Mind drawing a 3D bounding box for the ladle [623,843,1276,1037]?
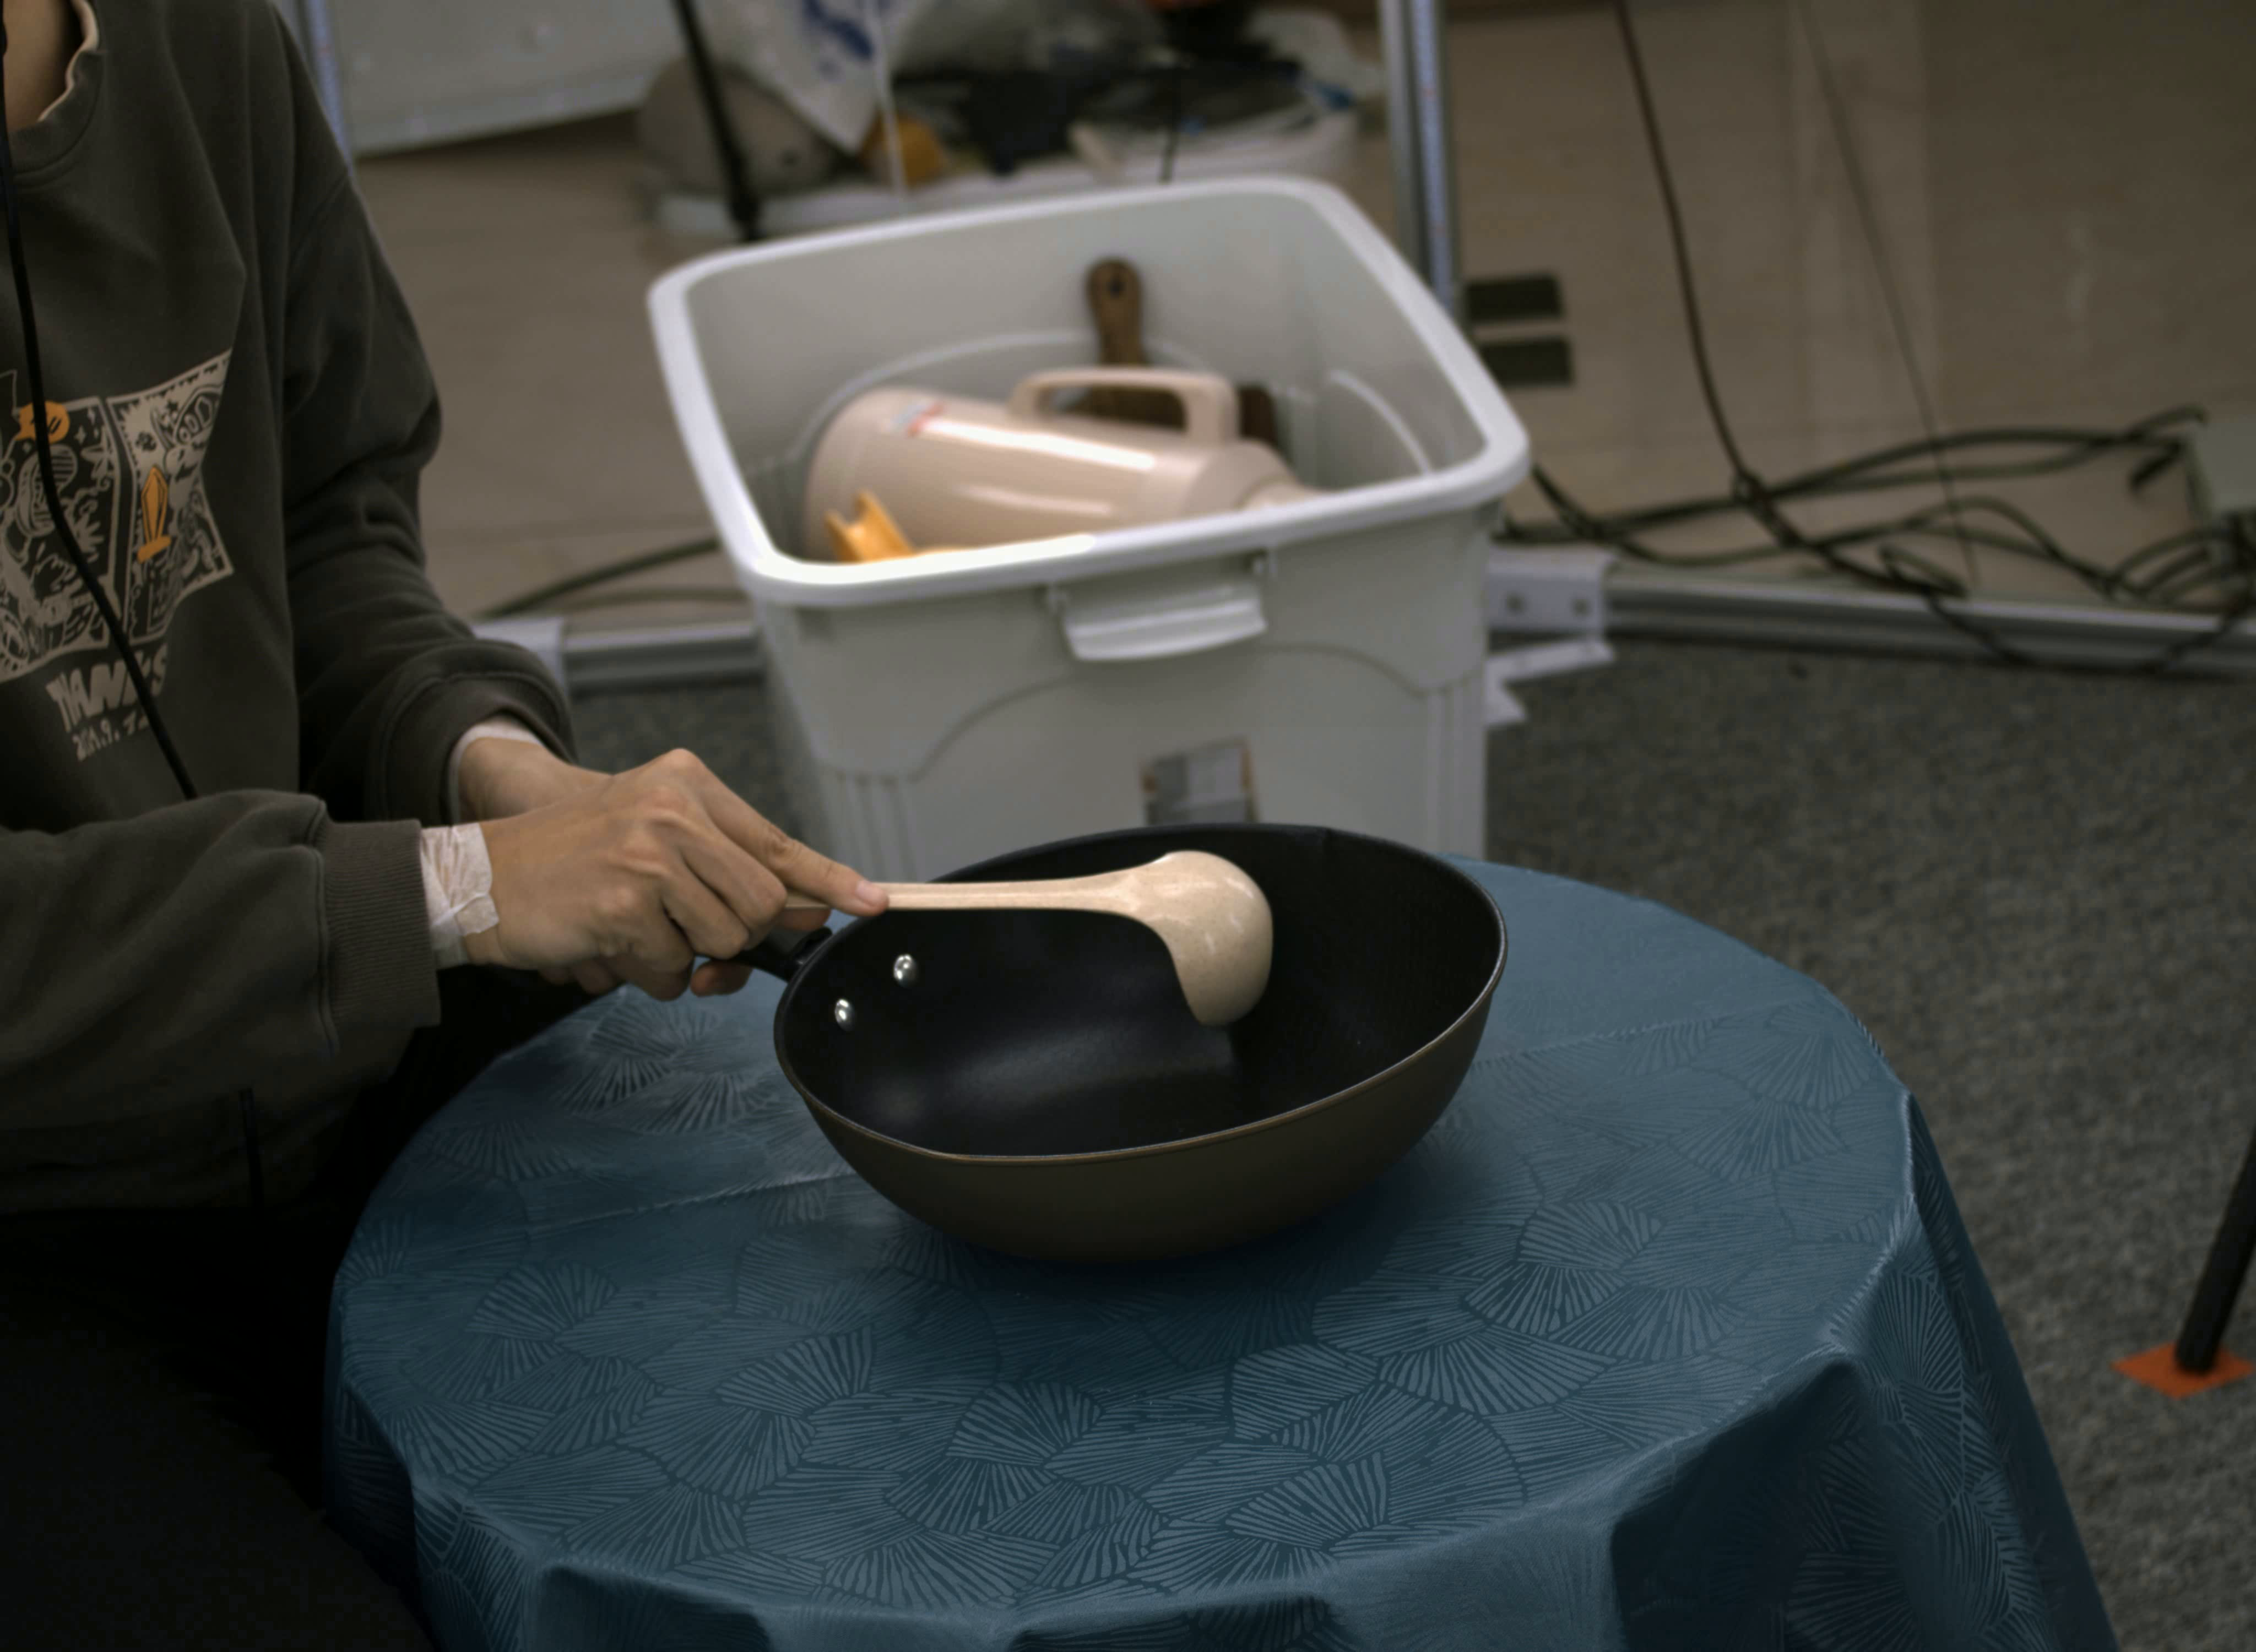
[{"bbox_3d":[-0.070,0.040,2.201,0.254,0.074,0.071,3,56,-5],"label":"ladle"}]

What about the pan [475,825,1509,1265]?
[{"bbox_3d":[-0.067,0.082,2.189,0.461,0.088,0.285,7,28,32],"label":"pan"}]
